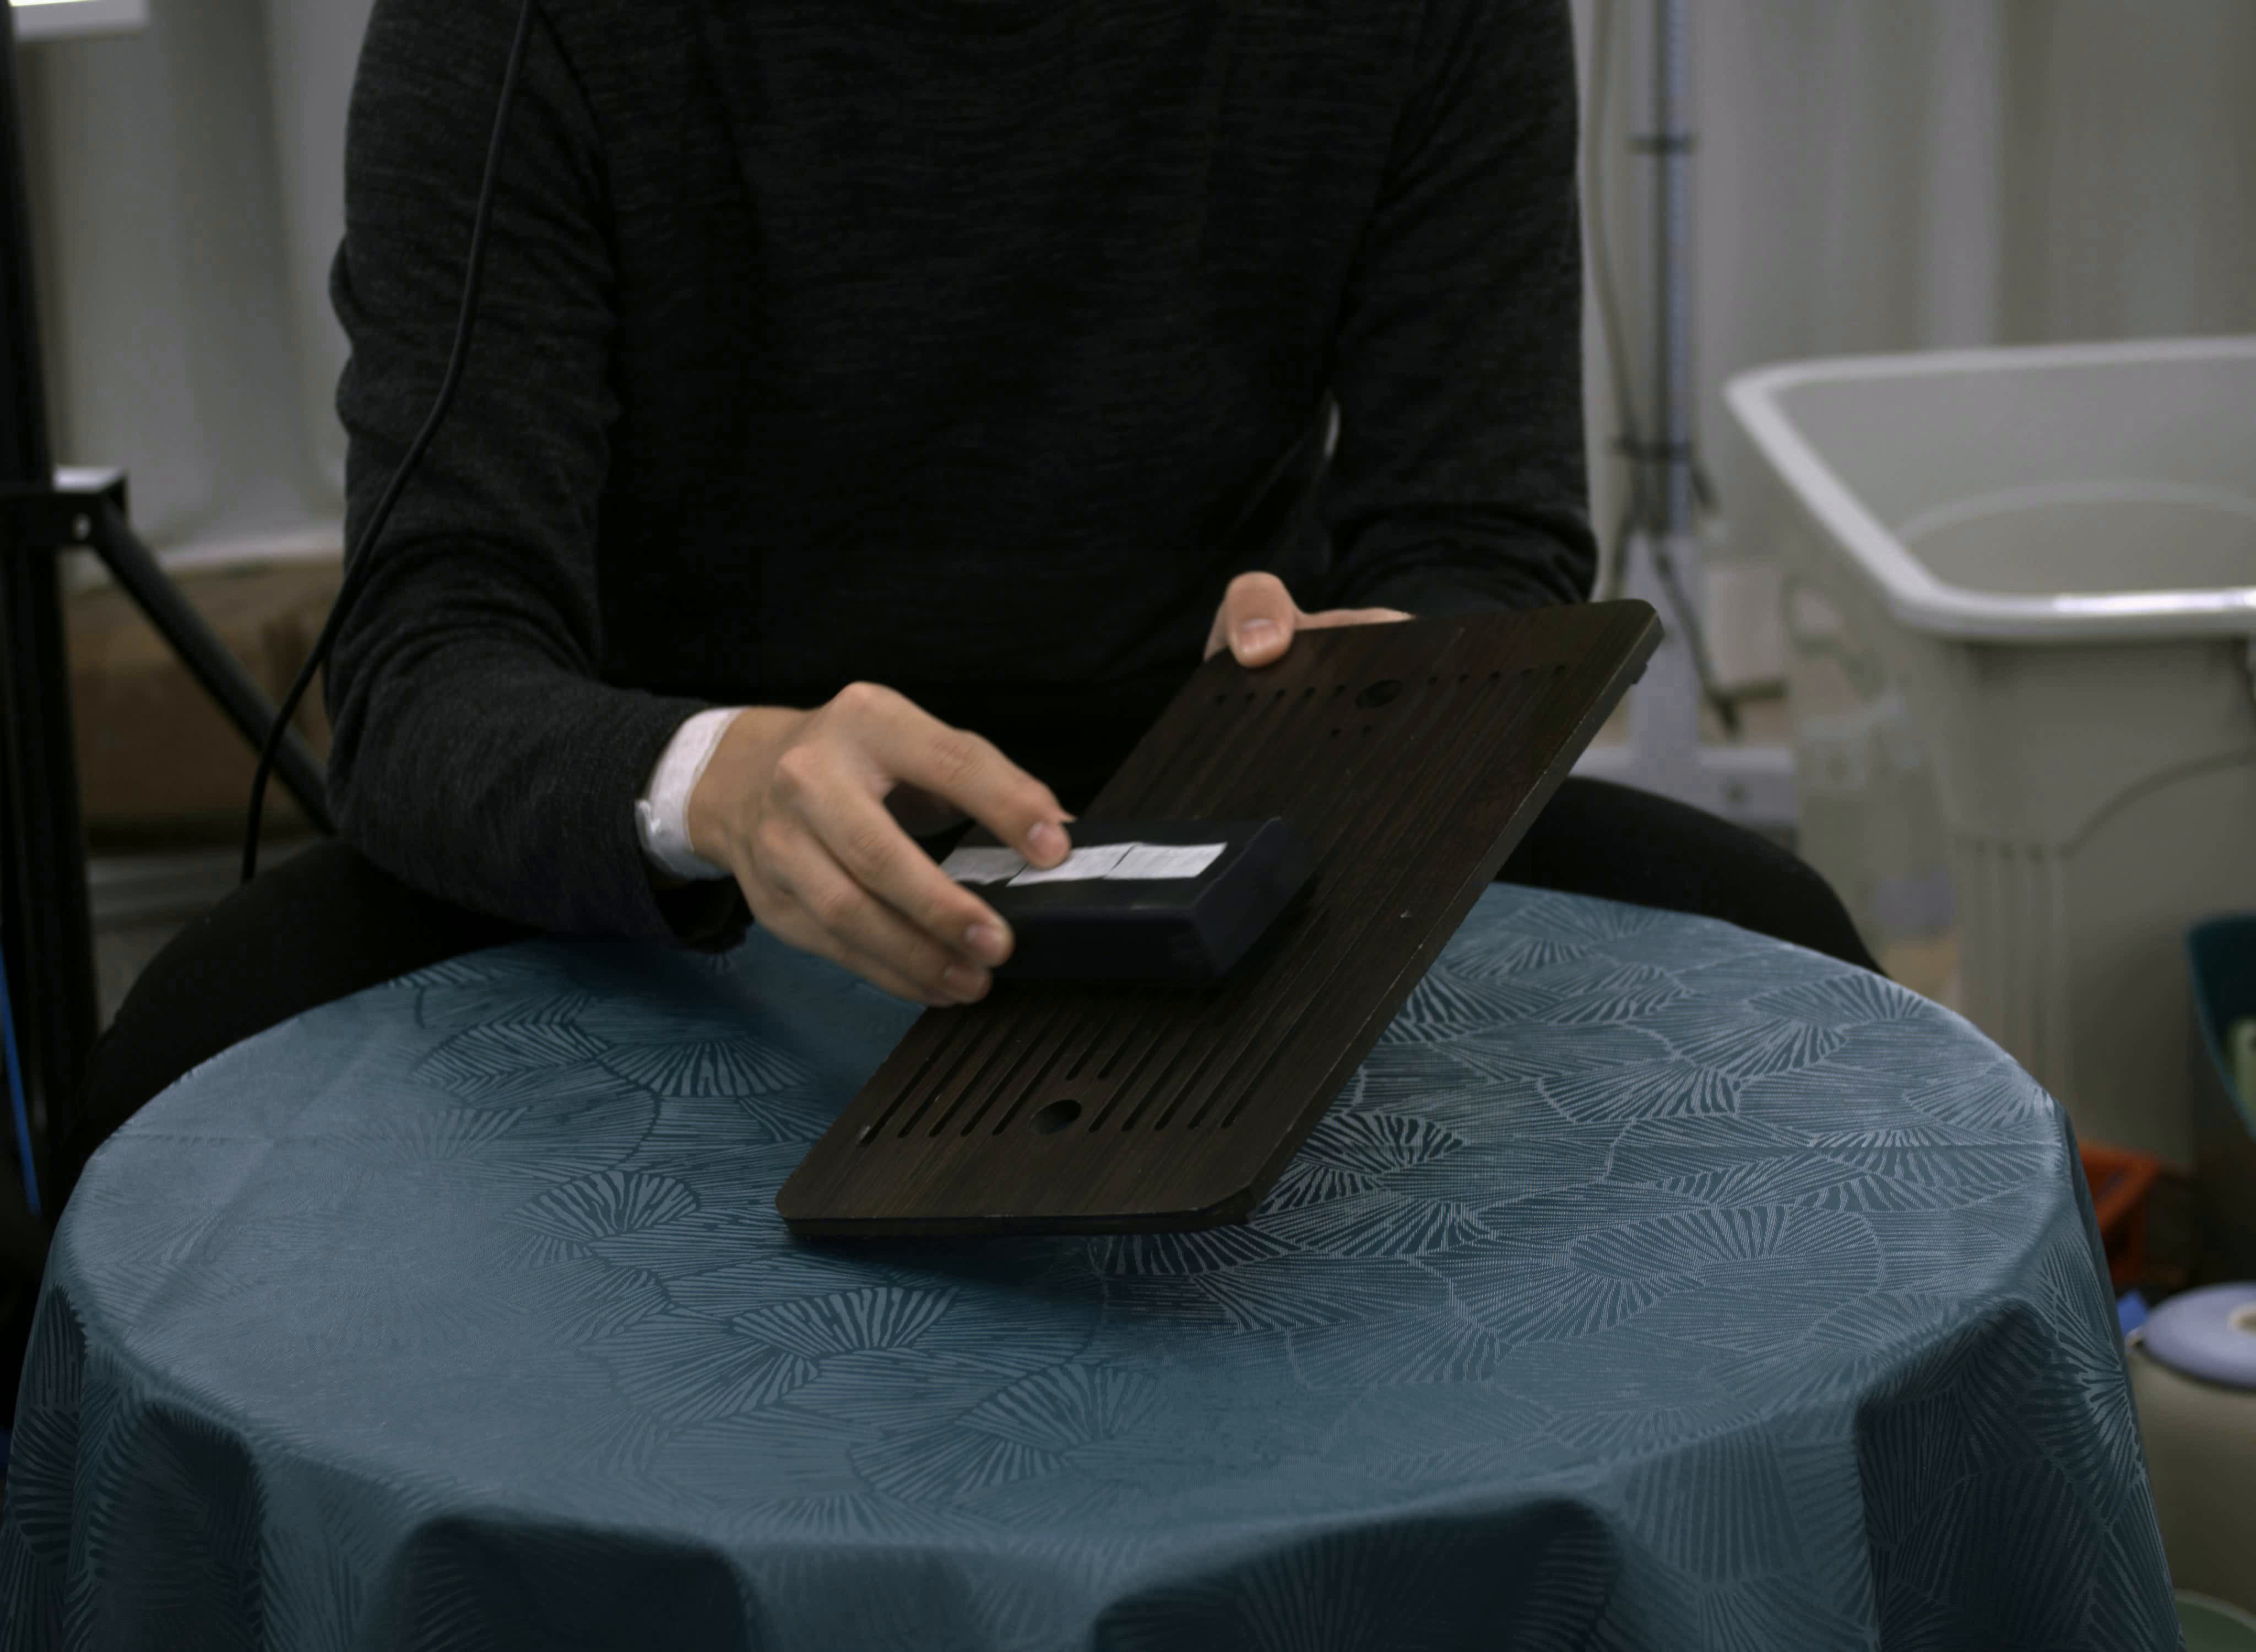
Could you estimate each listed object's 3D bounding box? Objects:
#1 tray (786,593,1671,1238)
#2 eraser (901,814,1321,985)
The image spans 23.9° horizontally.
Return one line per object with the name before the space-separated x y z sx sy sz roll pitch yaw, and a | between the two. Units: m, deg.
tray | 0.036 0.027 1.579 0.173 0.018 0.303 -4 33 37
eraser | -0.005 0.022 1.576 0.128 0.030 0.053 -3 31 42
